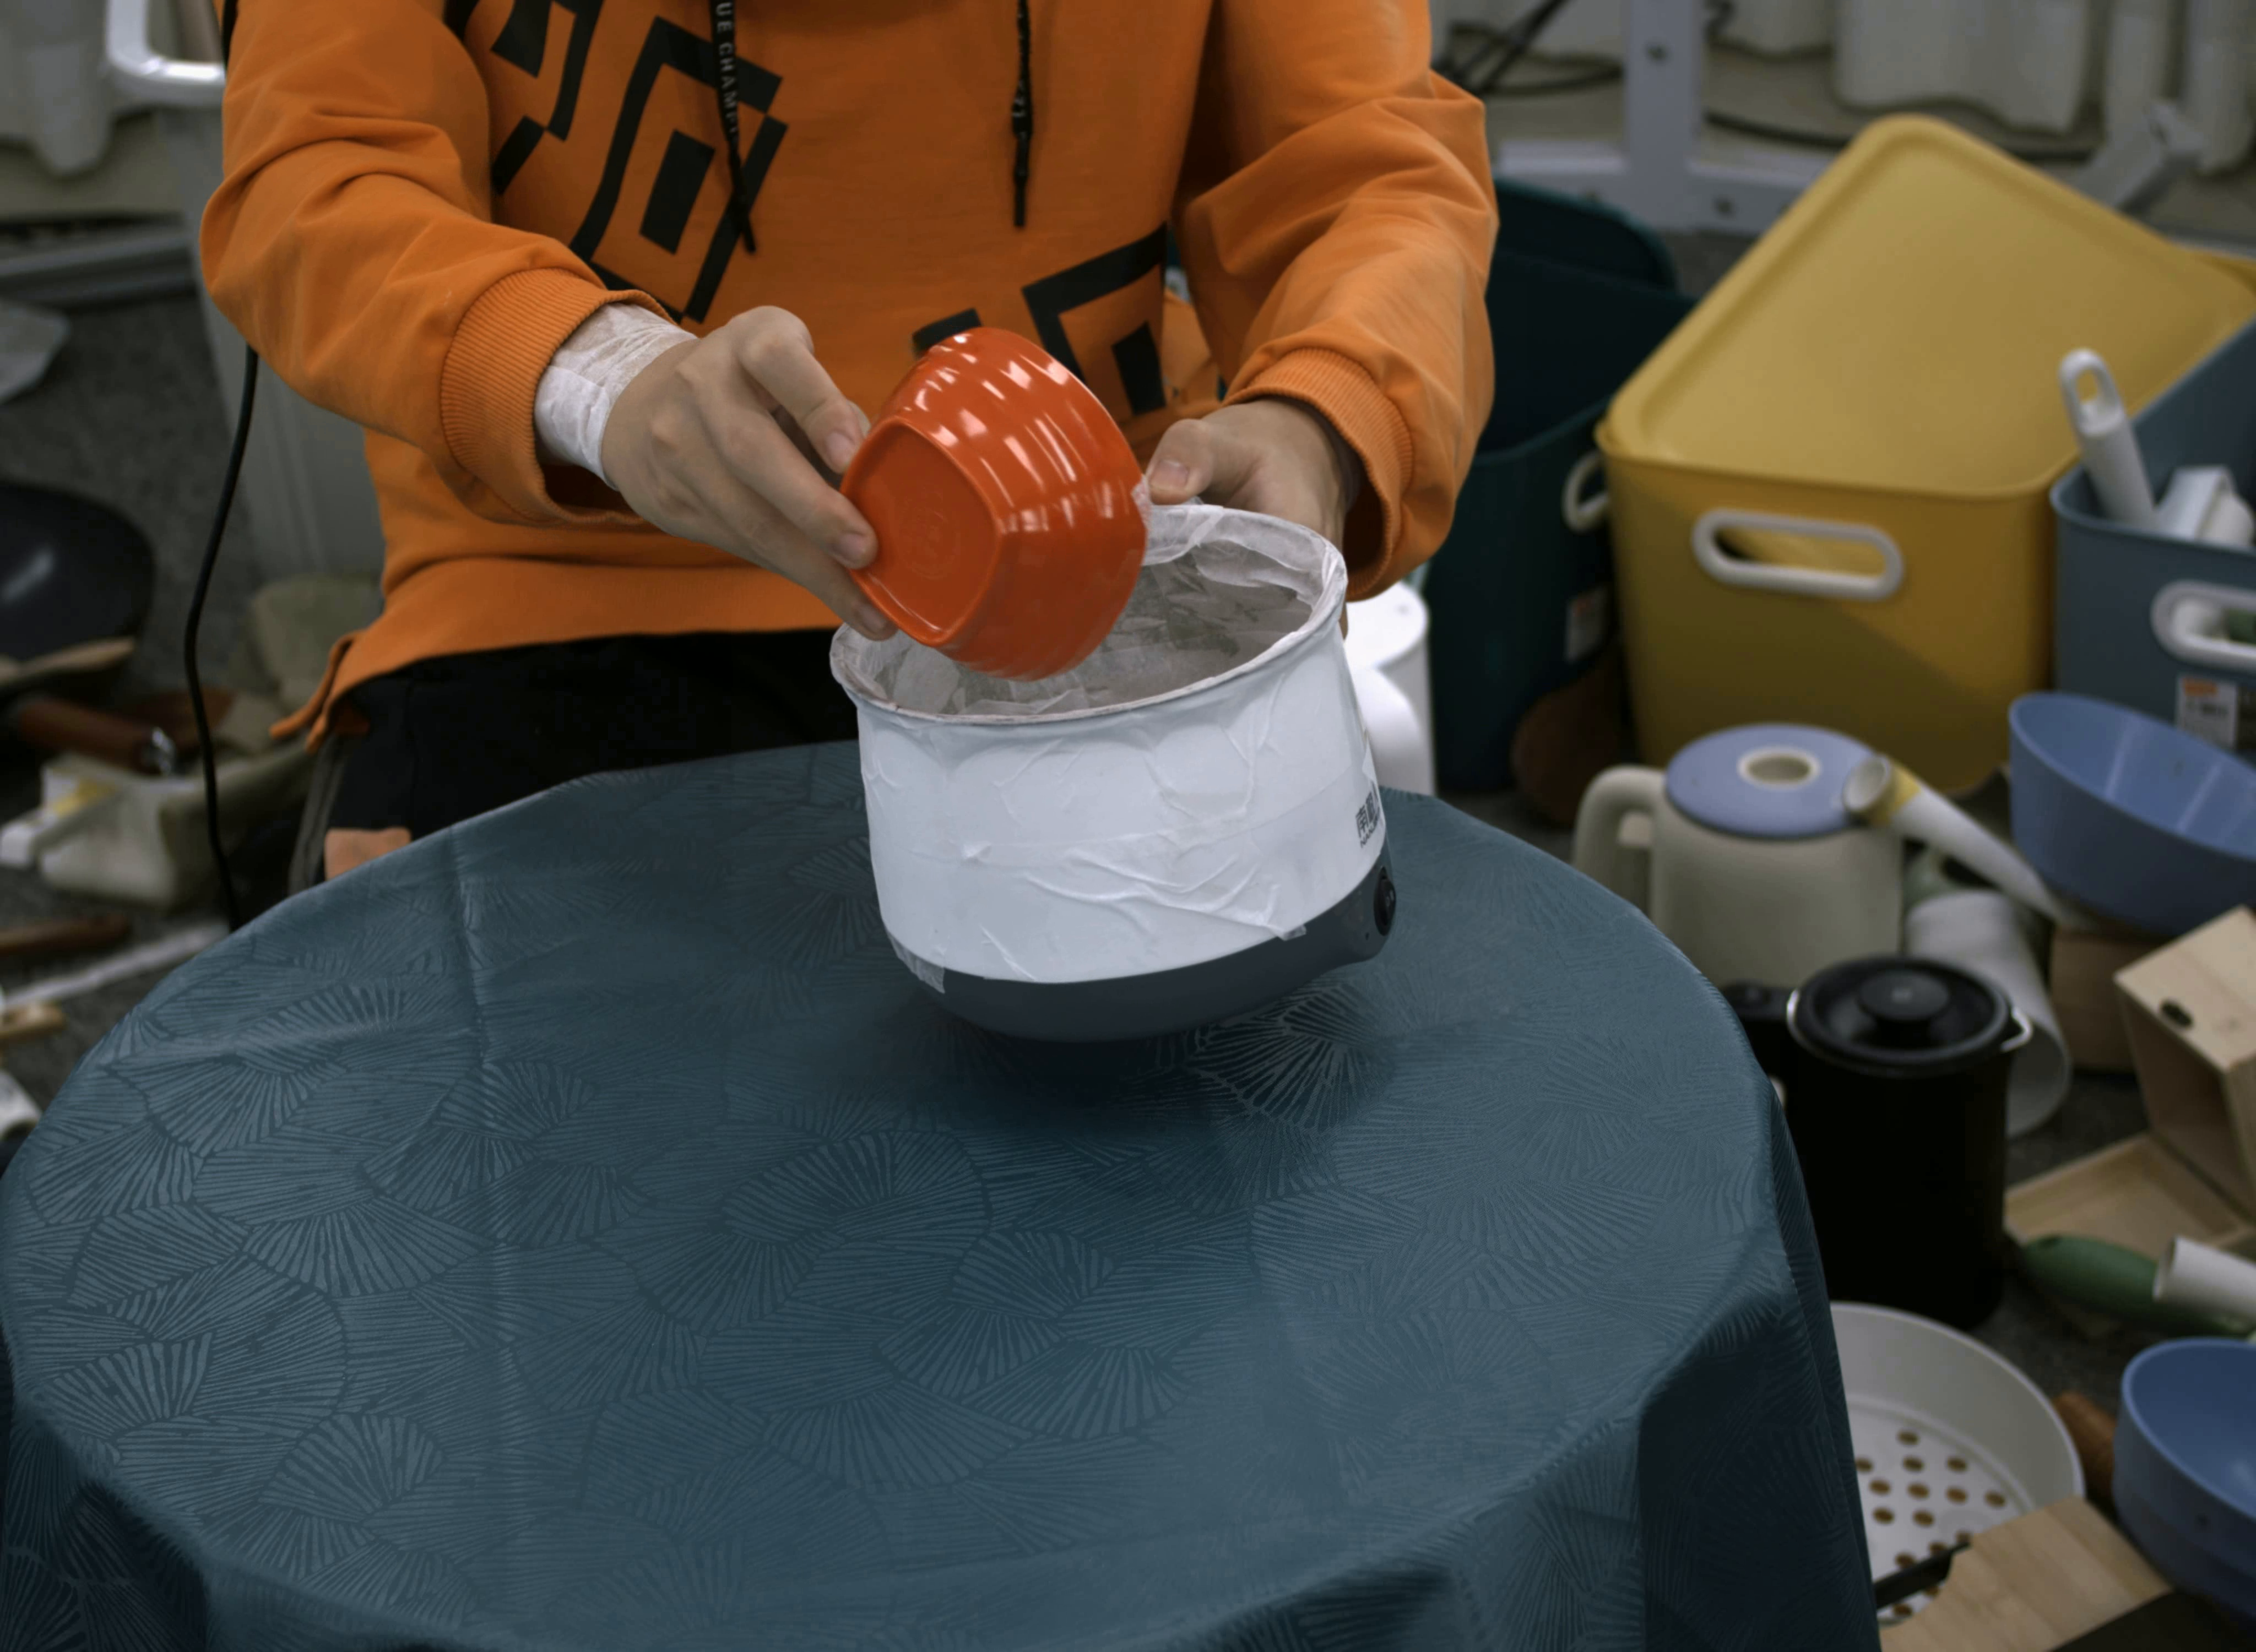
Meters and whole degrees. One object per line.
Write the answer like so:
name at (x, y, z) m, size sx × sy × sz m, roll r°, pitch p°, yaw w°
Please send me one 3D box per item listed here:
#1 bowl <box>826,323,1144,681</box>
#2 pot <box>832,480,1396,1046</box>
bowl at (-0.055, -0.101, 1.838) m, size 0.118 × 0.118 × 0.052 m, roll 19°, pitch 25°, yaw 37°
pot at (0.003, -0.028, 1.944) m, size 0.177 × 0.135 × 0.237 m, roll -2°, pitch 25°, yaw 16°
